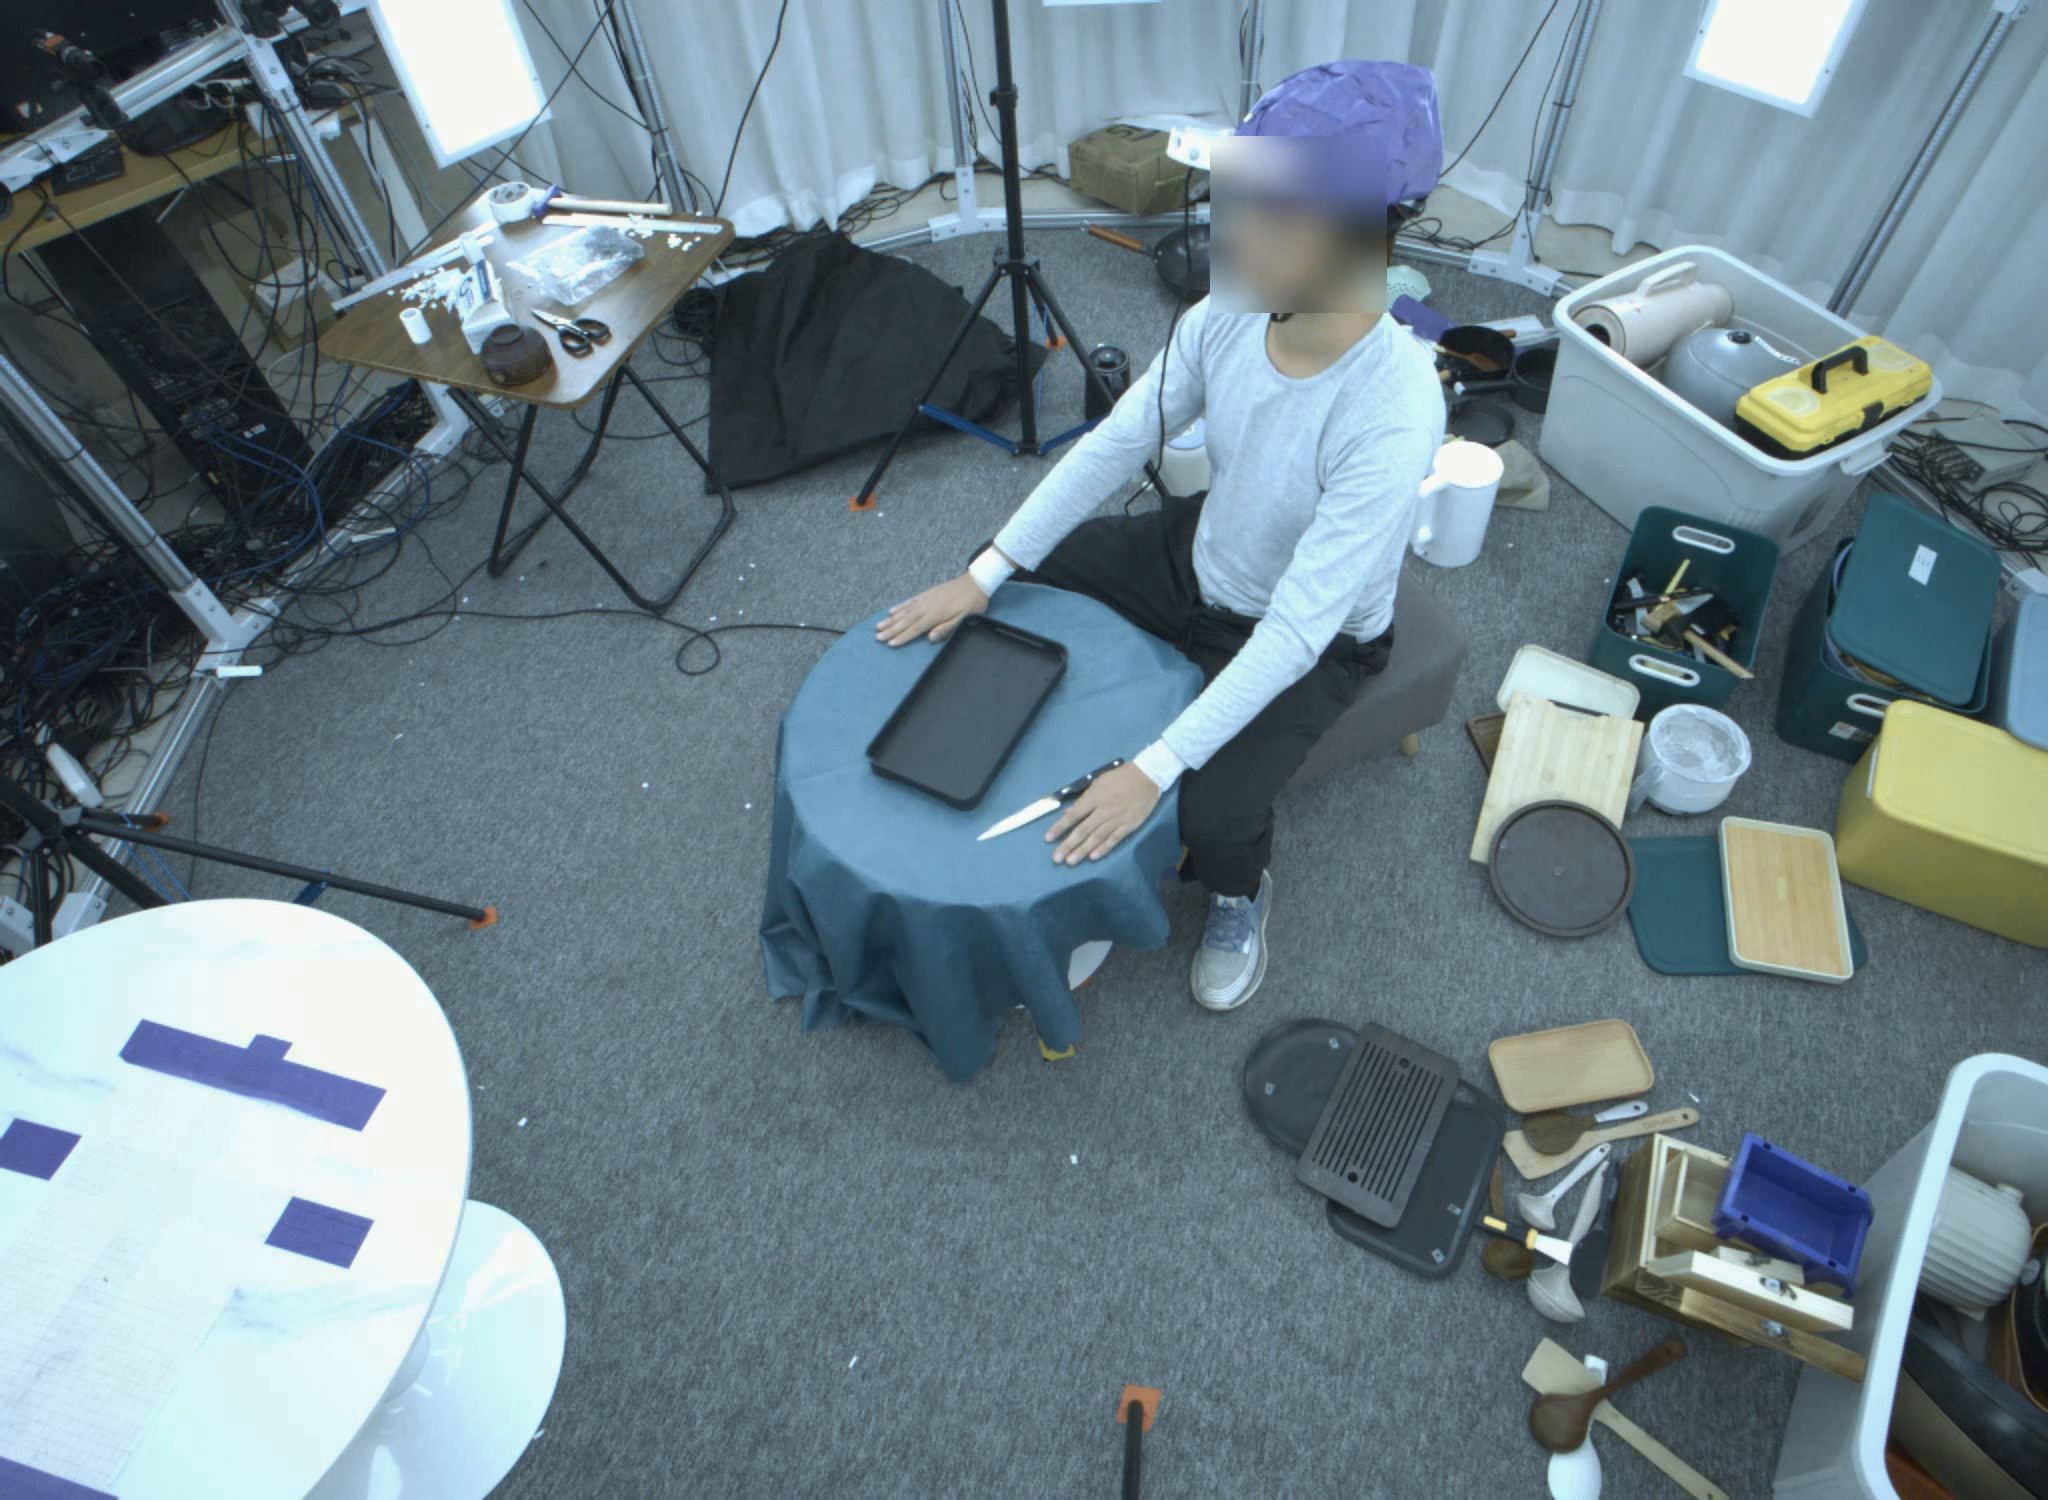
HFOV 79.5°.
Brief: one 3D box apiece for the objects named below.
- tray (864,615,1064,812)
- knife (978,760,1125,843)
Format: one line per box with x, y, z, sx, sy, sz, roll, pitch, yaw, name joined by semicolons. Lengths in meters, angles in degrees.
-0.084;-0.060;1.818;0.182;0.037;0.318;22;57;15;tray
0.038;0.072;1.736;0.240;0.016;0.024;-28;56;-14;knife
